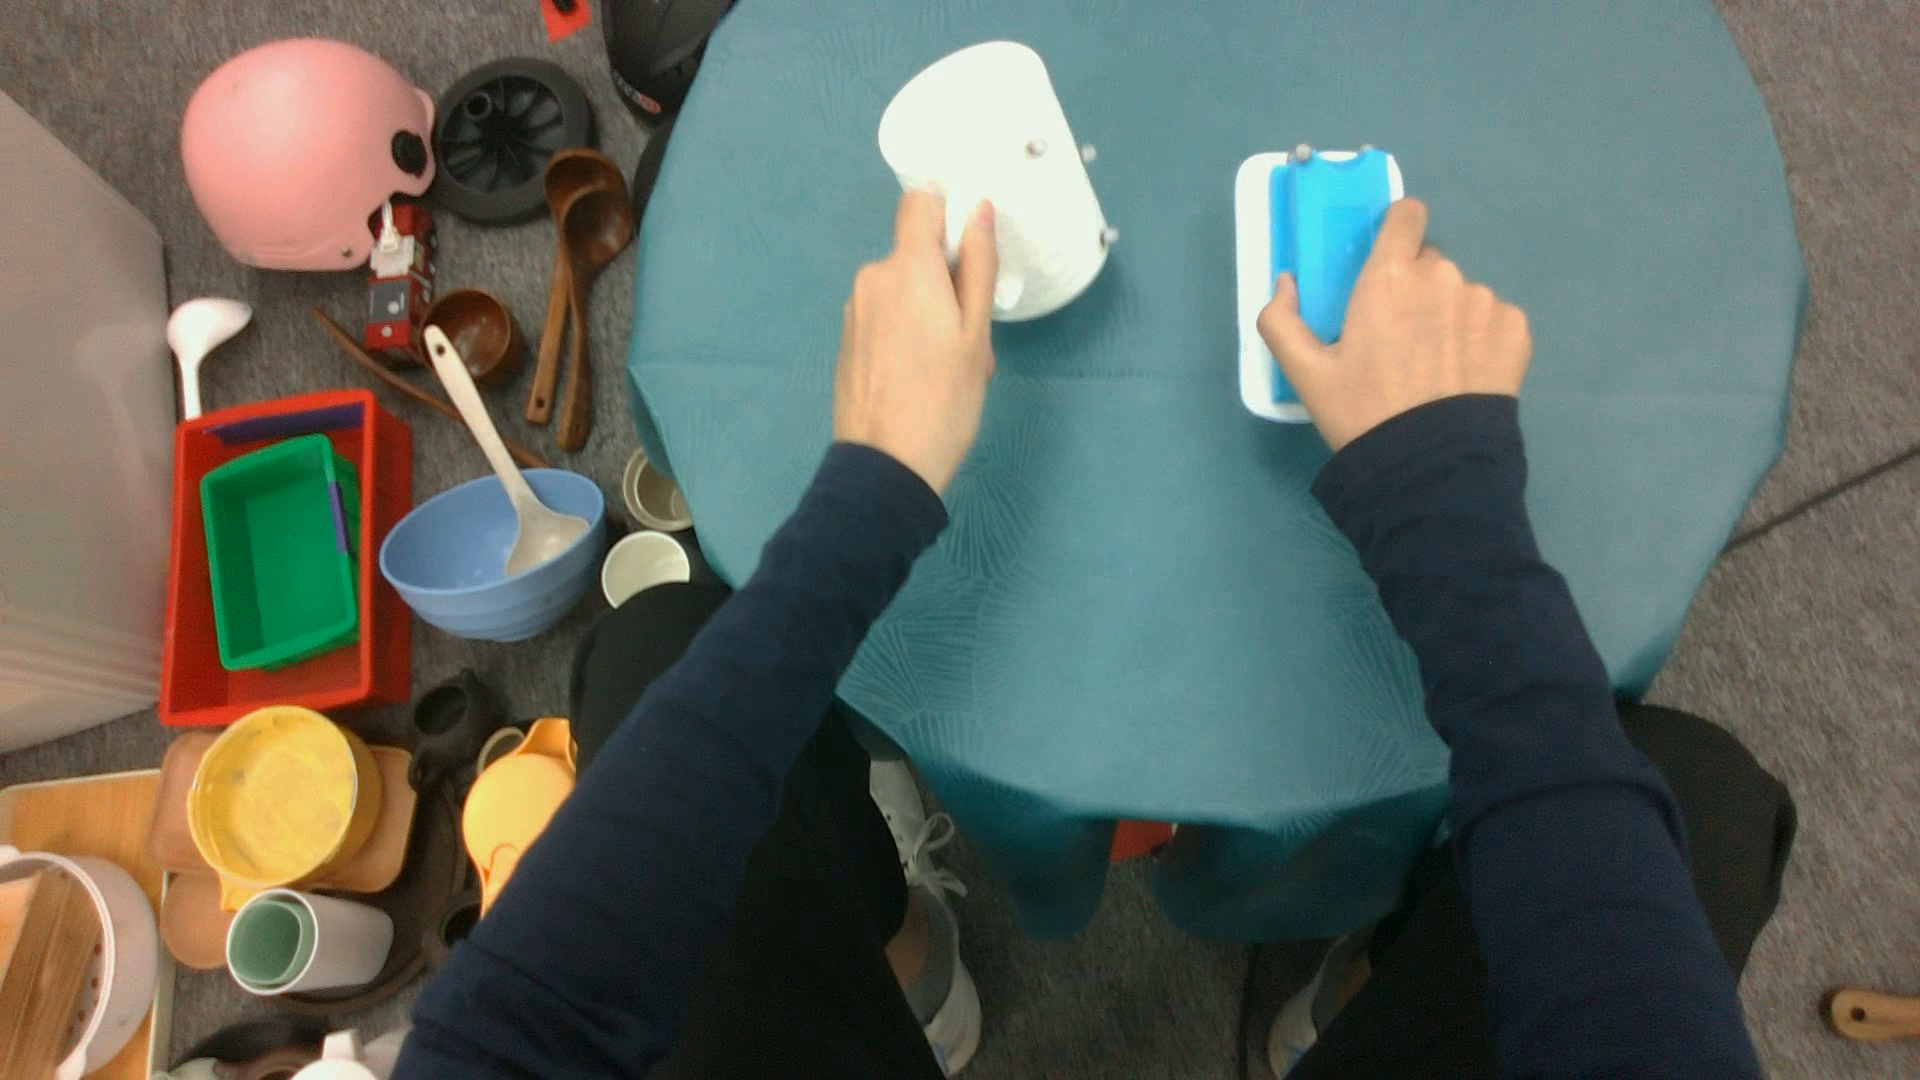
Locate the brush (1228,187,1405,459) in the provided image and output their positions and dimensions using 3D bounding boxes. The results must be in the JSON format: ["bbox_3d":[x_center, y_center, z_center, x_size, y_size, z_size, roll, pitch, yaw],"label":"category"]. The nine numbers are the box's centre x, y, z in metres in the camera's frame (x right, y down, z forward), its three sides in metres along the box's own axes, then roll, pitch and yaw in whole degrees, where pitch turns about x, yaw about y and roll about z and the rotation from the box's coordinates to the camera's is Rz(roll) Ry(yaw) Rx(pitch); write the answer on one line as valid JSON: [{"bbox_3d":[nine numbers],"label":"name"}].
[{"bbox_3d":[0.175,-0.112,0.669,0.084,0.056,0.144,3,70,8],"label":"brush"}]

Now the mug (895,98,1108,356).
[{"bbox_3d":[0.022,-0.143,0.691,0.085,0.101,0.119,-5,53,20],"label":"mug"}]
